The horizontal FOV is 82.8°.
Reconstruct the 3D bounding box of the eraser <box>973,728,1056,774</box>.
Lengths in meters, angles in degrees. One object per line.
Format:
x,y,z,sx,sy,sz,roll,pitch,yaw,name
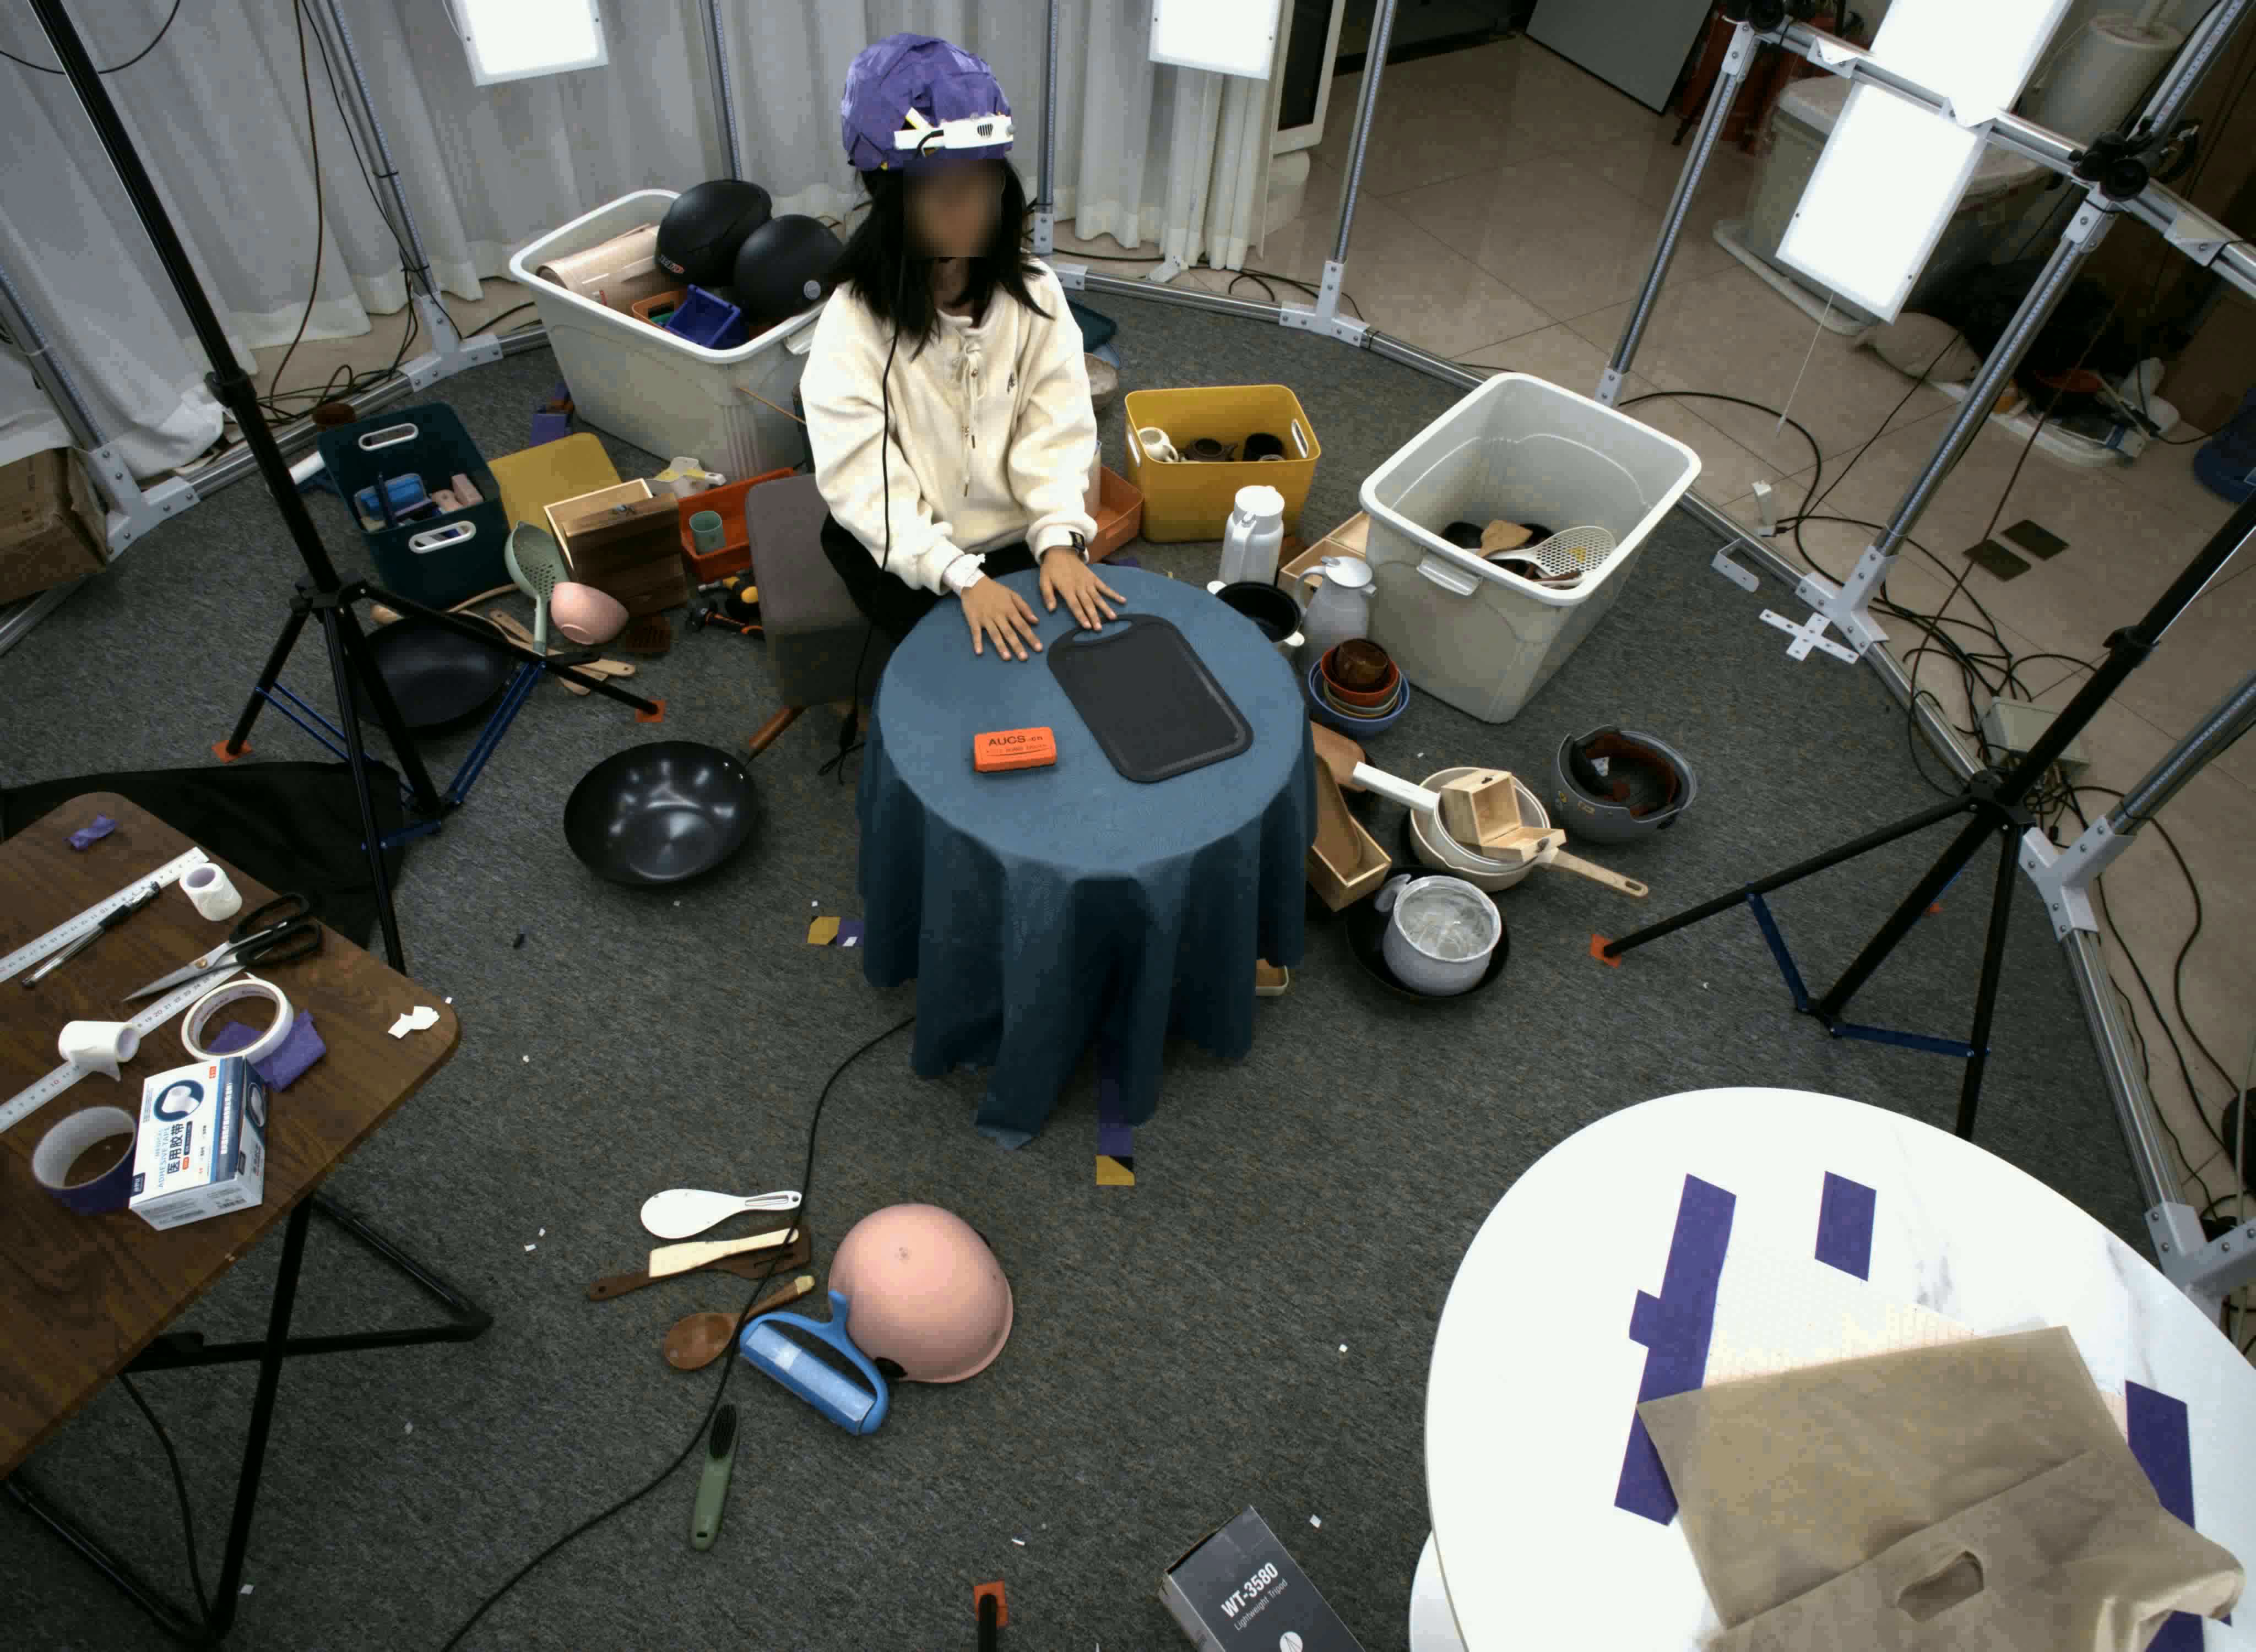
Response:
-0.153,-0.101,1.732,0.108,0.022,0.060,-6,50,-10,eraser

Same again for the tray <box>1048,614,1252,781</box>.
0.024,-0.196,1.837,0.211,0.009,0.333,-18,53,-19,tray
